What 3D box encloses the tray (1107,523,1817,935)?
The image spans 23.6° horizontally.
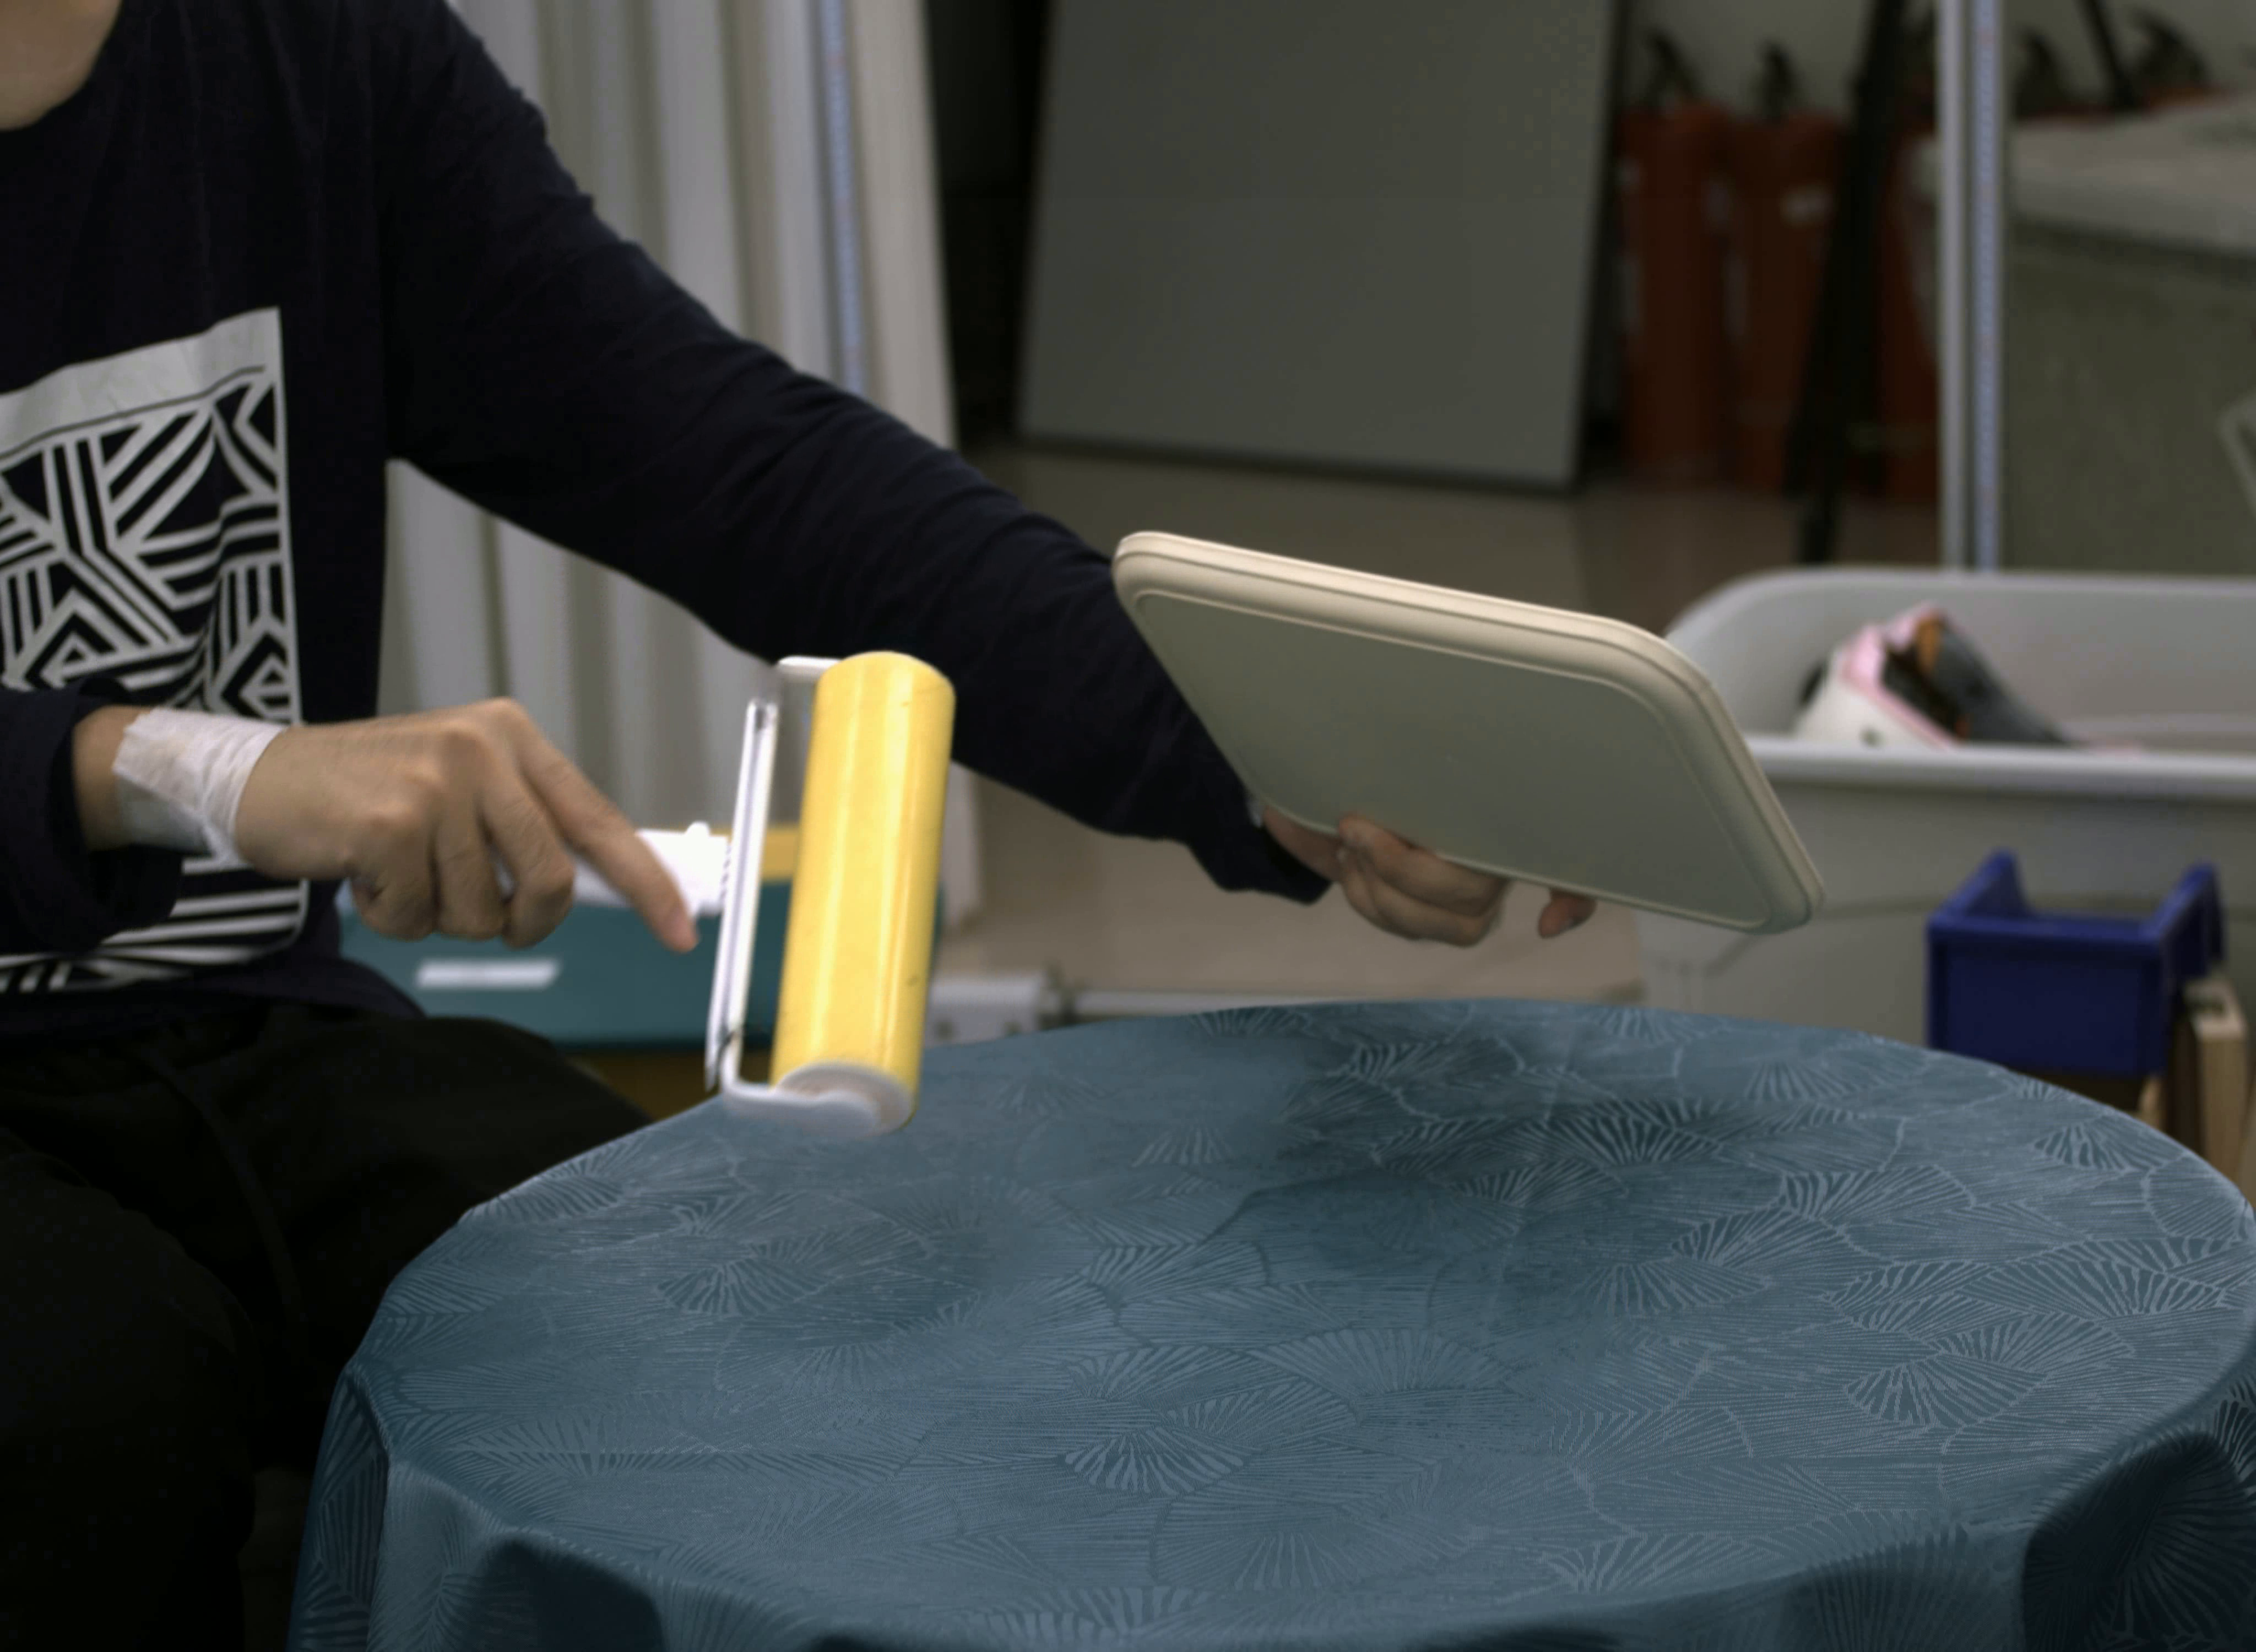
[{"bbox_3d":[0.109,-0.030,1.804,0.241,0.170,0.017,13,61,37],"label":"tray"}]

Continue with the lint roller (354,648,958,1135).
[{"bbox_3d":[-0.149,0.008,1.729,0.188,0.052,0.176,10,51,-11],"label":"lint roller"}]
